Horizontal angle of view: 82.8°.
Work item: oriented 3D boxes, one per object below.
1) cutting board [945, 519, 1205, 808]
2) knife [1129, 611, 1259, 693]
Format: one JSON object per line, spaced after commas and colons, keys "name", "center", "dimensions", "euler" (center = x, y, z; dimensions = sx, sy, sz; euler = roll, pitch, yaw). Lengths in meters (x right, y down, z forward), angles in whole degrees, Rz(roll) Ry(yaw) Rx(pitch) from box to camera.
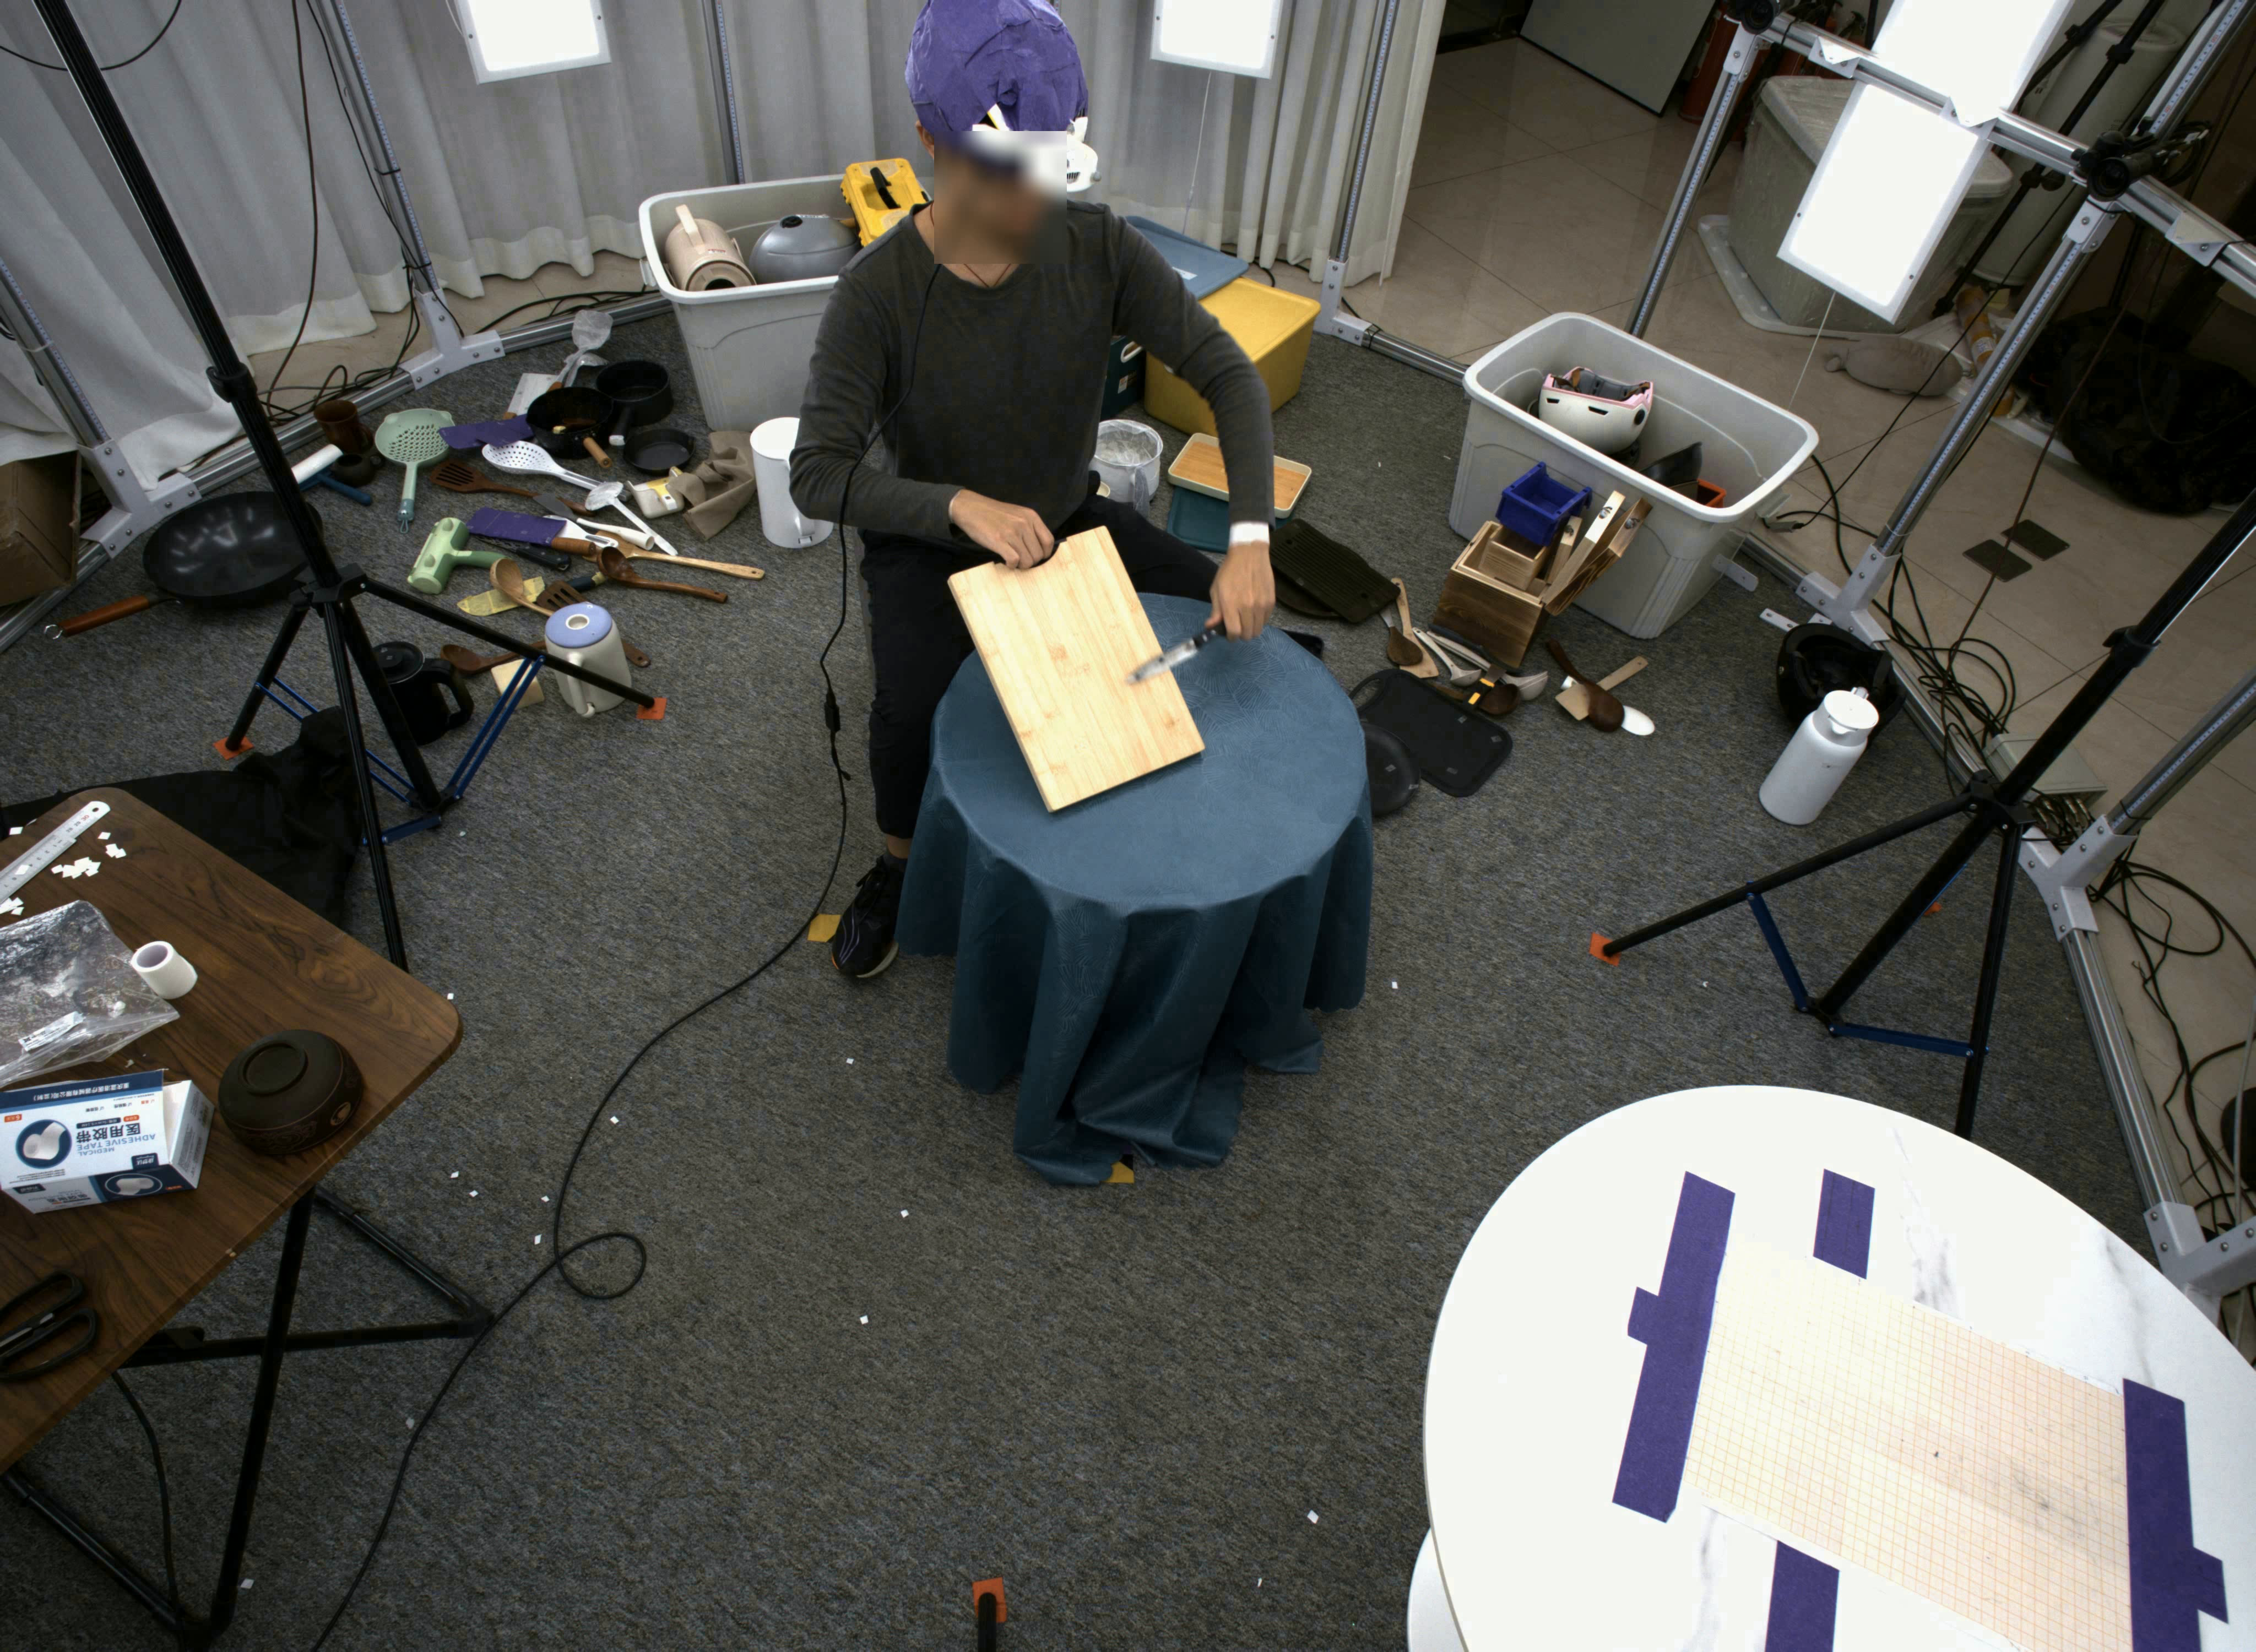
{"name": "cutting board", "center": [-0.069, -0.221, 1.727], "dimensions": [0.251, 0.023, 0.350], "euler": [-23, 85, -22]}
{"name": "knife", "center": [0.091, -0.242, 1.775], "dimensions": [0.240, 0.016, 0.024], "euler": [-33, 99, -26]}
